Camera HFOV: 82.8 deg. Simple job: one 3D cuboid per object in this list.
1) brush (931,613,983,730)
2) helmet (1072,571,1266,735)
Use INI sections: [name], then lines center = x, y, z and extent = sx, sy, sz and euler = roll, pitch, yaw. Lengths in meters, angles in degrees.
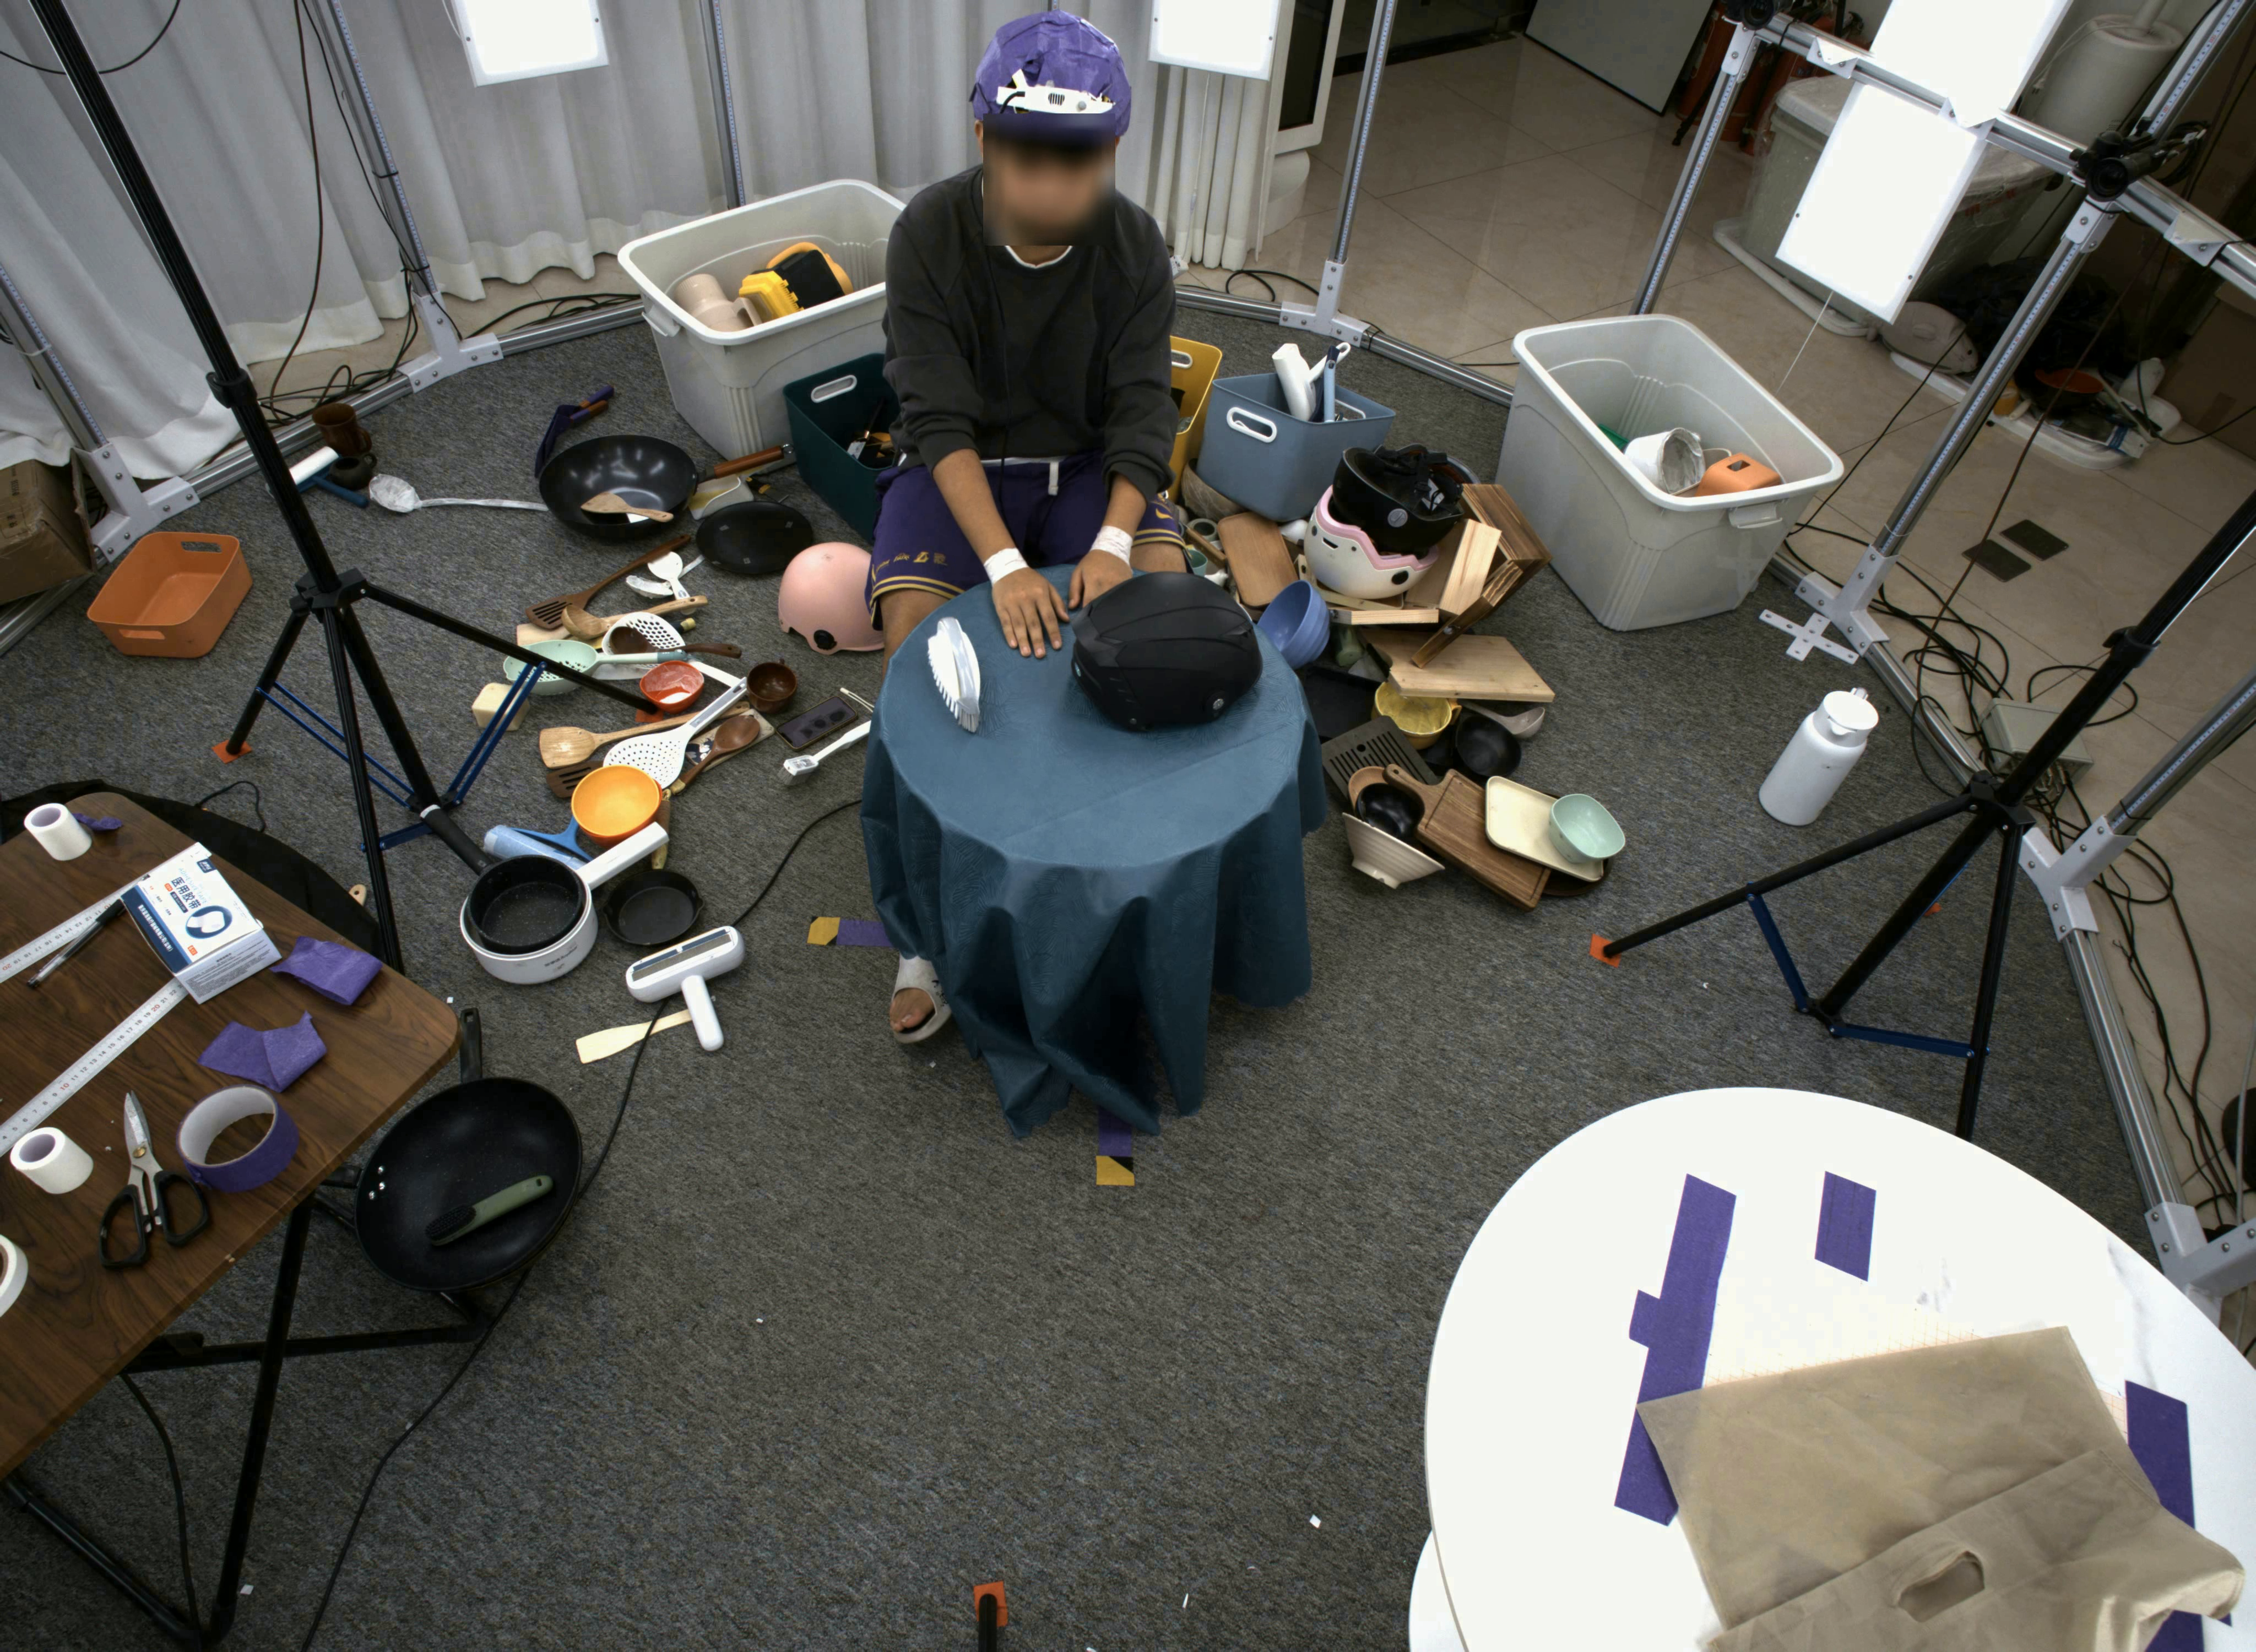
[brush]
center = -0.232, -0.223, 1.786
extent = 0.061, 0.092, 0.180
euler = -11, 52, -12
[helmet]
center = 0.056, -0.263, 1.797
extent = 0.277, 0.168, 0.252
euler = -16, 53, -12
